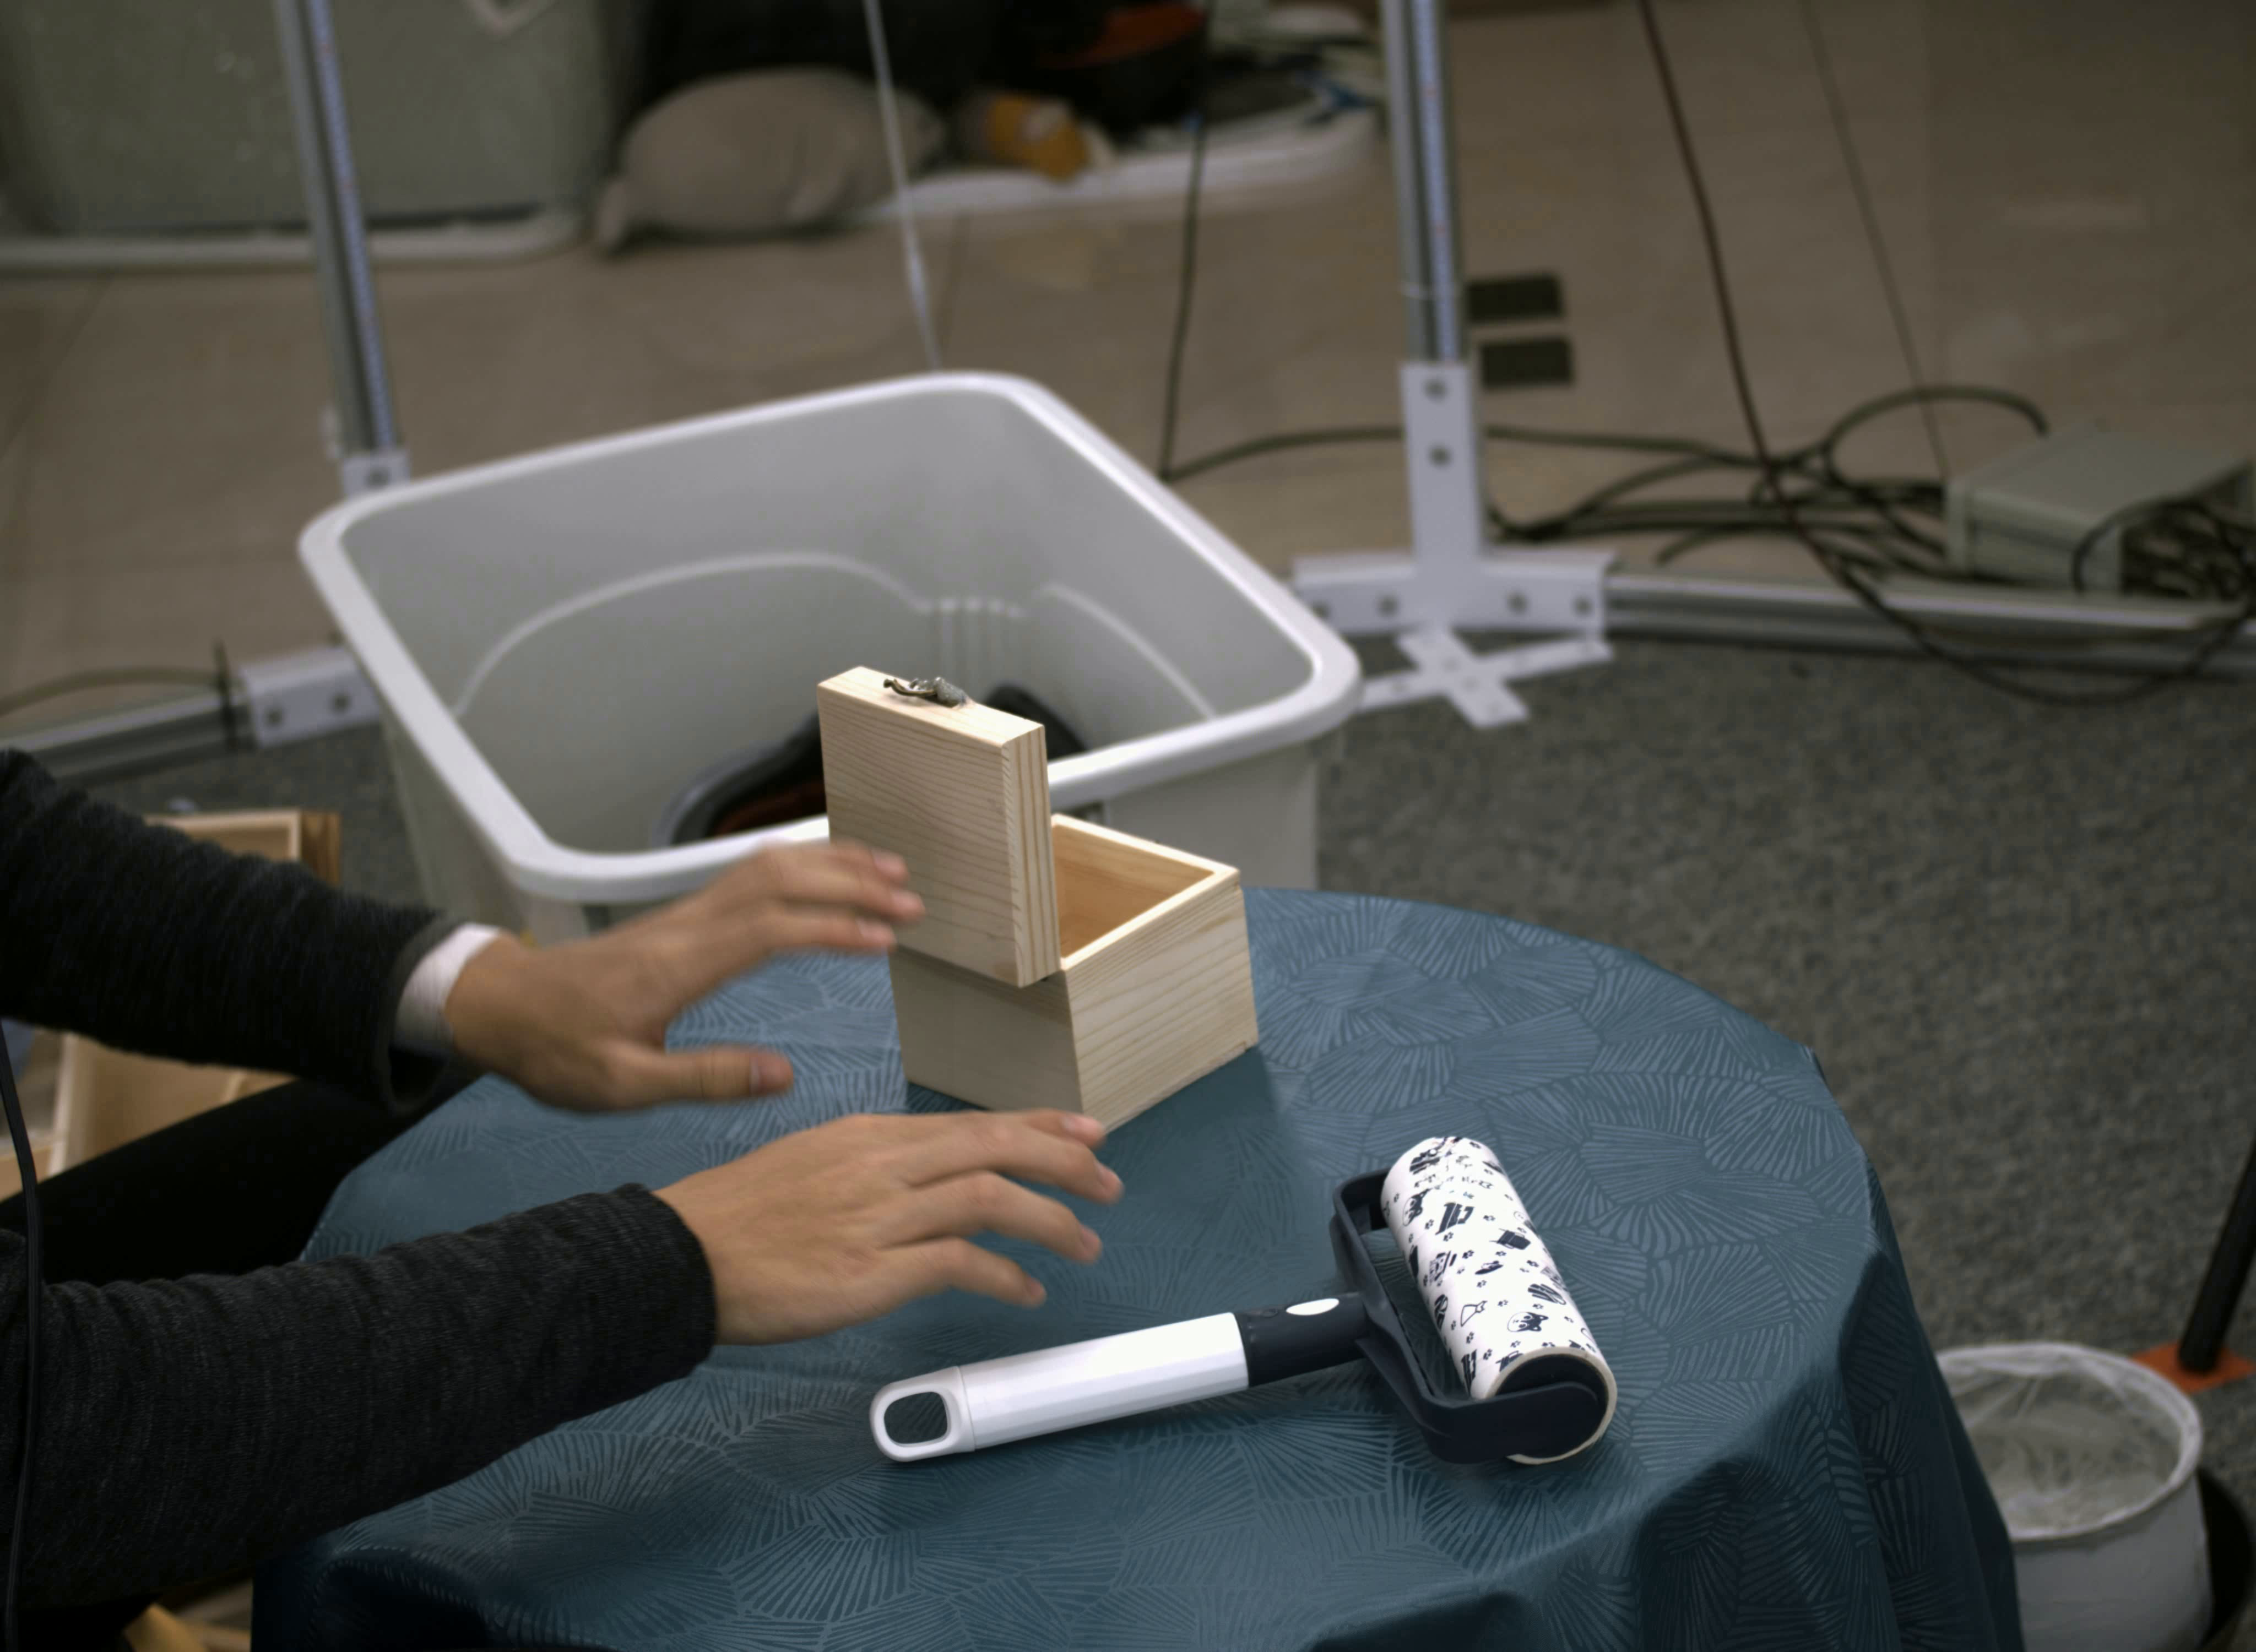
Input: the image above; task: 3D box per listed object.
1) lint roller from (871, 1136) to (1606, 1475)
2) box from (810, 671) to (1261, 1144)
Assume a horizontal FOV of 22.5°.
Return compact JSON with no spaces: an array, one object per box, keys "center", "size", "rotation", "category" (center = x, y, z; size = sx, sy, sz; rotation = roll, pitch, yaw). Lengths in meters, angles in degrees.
[{"center":[0.030,0.184,1.991],"size":[0.246,0.051,0.174],"rotation":[-10,26,-7],"category":"lint roller"},{"center":[-0.034,0.016,2.202],"size":[0.102,0.187,0.132],"rotation":[17,35,40],"category":"box"}]
